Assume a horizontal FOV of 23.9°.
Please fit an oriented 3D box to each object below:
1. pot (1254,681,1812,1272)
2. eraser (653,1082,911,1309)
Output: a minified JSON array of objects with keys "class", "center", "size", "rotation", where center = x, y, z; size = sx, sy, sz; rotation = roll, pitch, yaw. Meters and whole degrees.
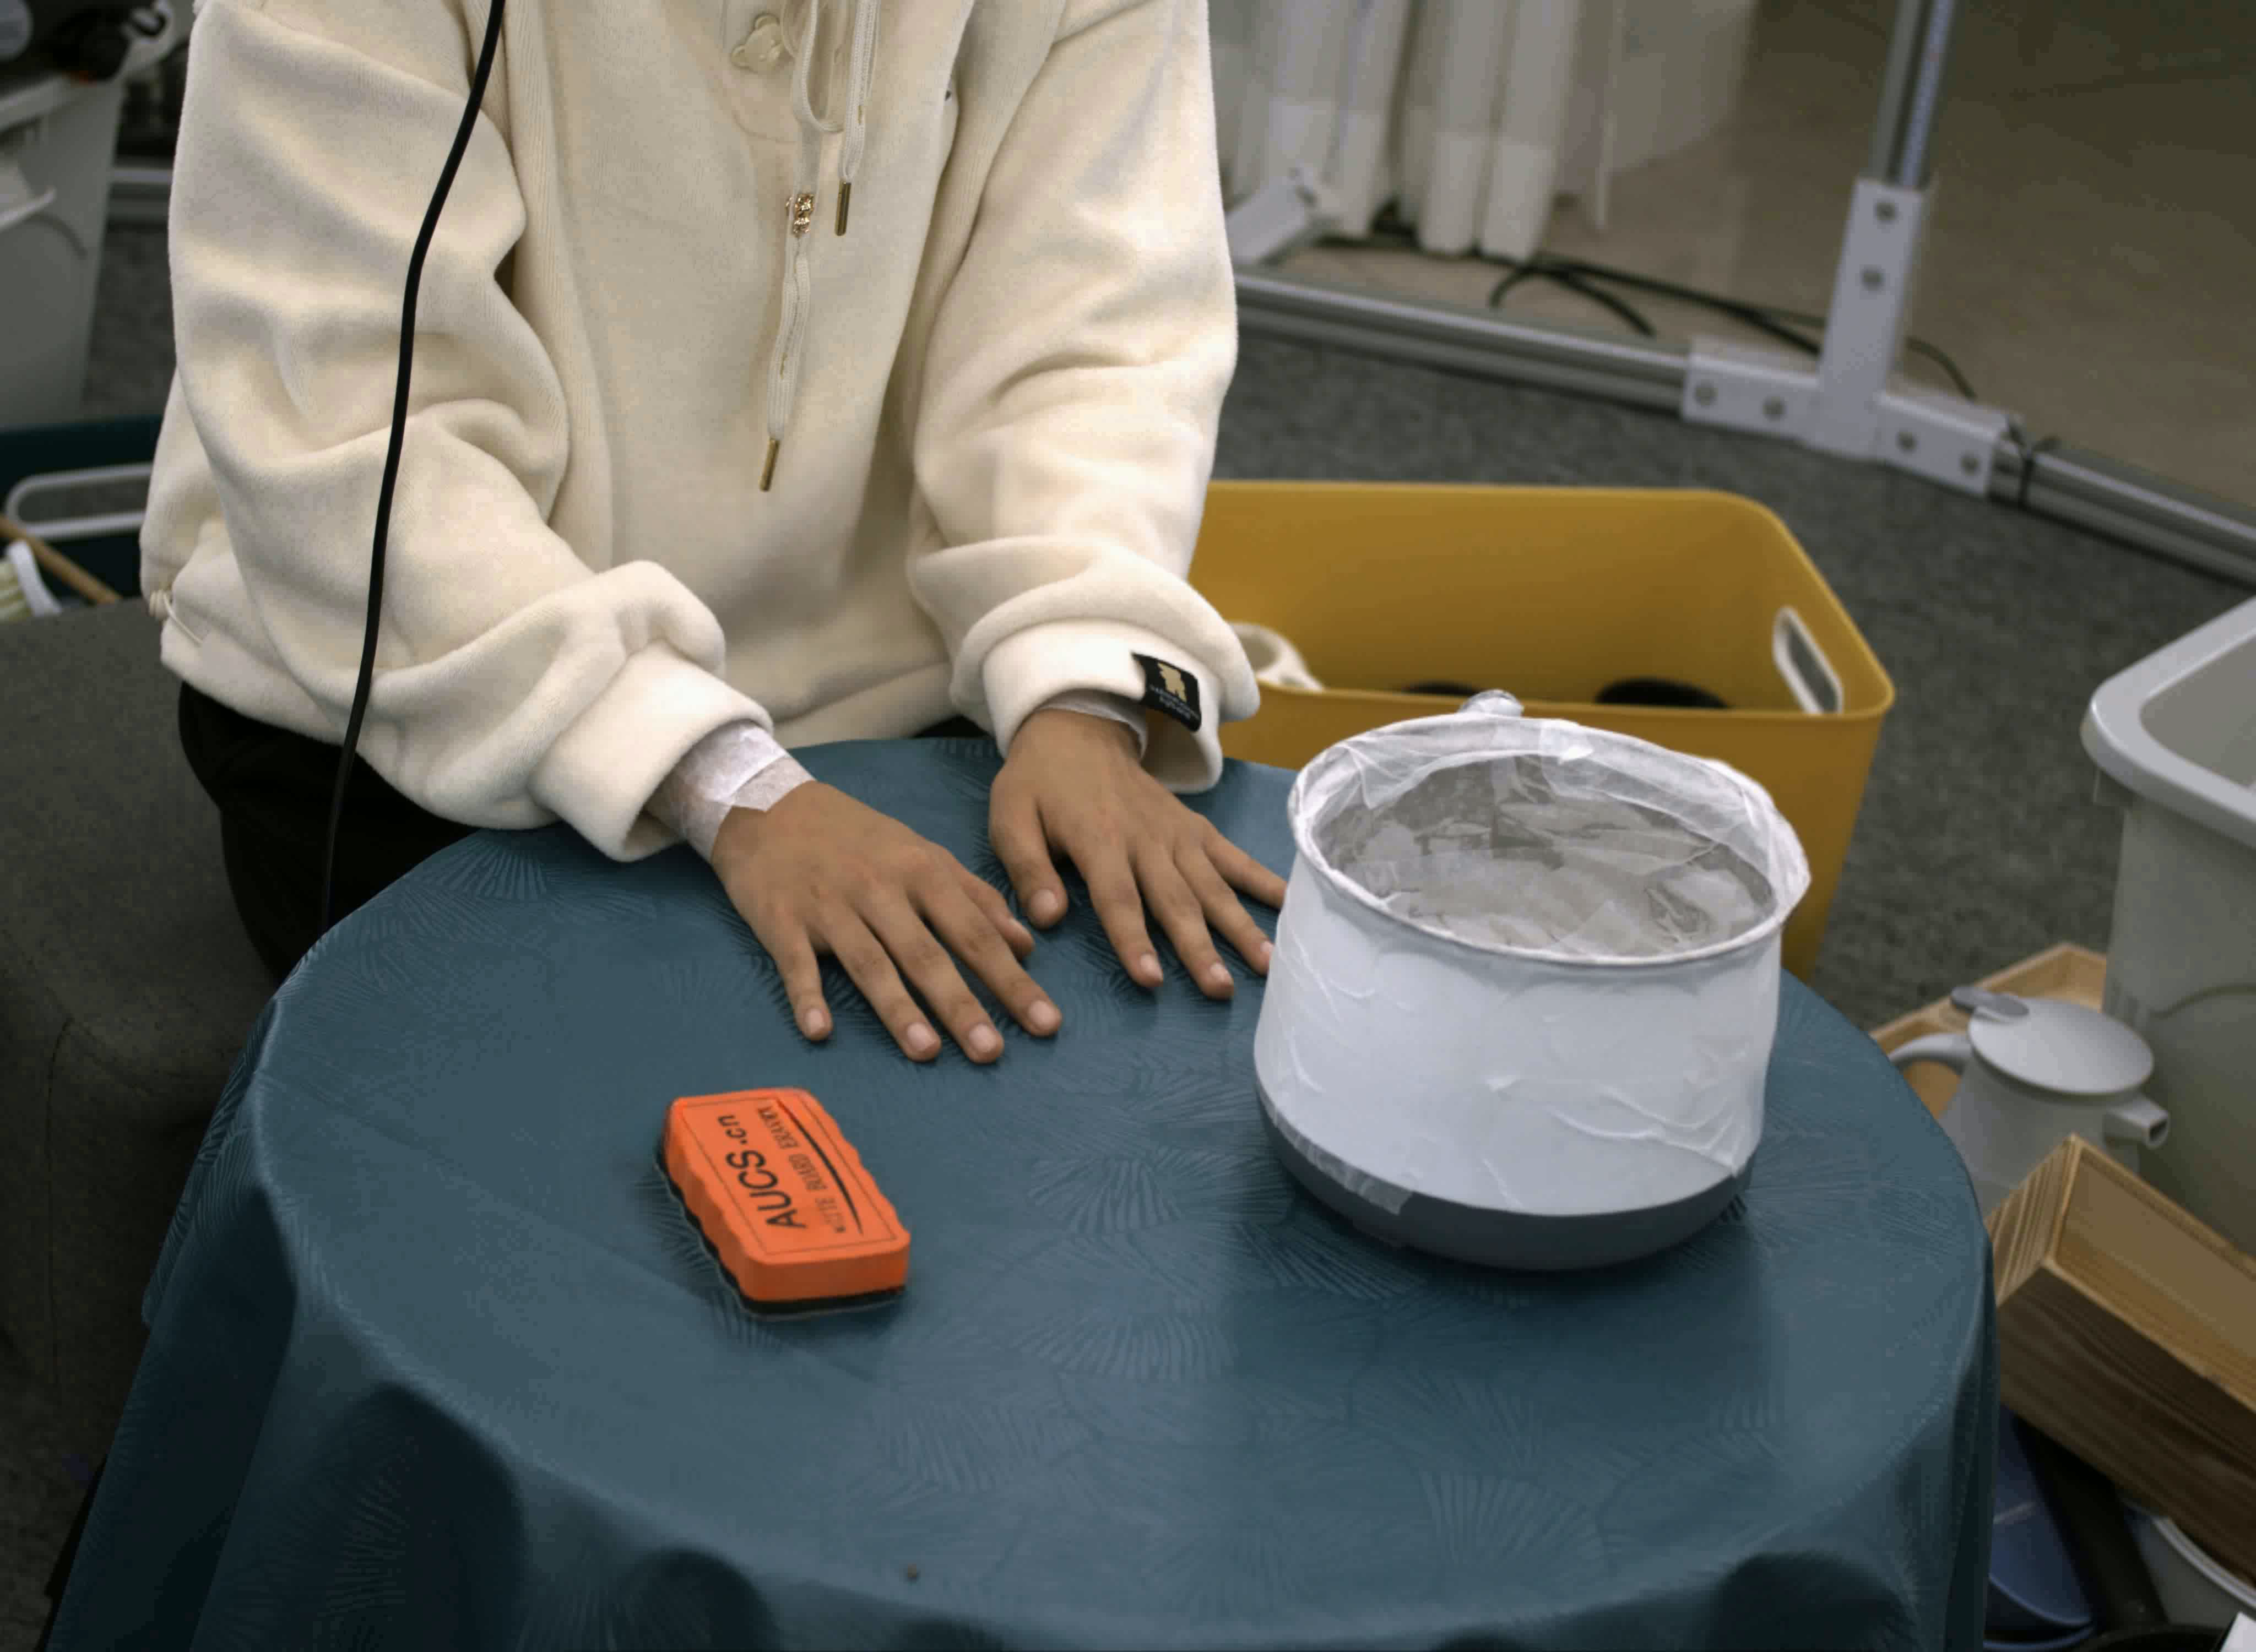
[{"class":"pot","center":[0.130,0.044,1.833],"size":[0.178,0.136,0.235],"rotation":[2,28,-9]},{"class":"eraser","center":[-0.115,0.121,1.749],"size":[0.058,0.023,0.109],"rotation":[-5,27,-22]}]
